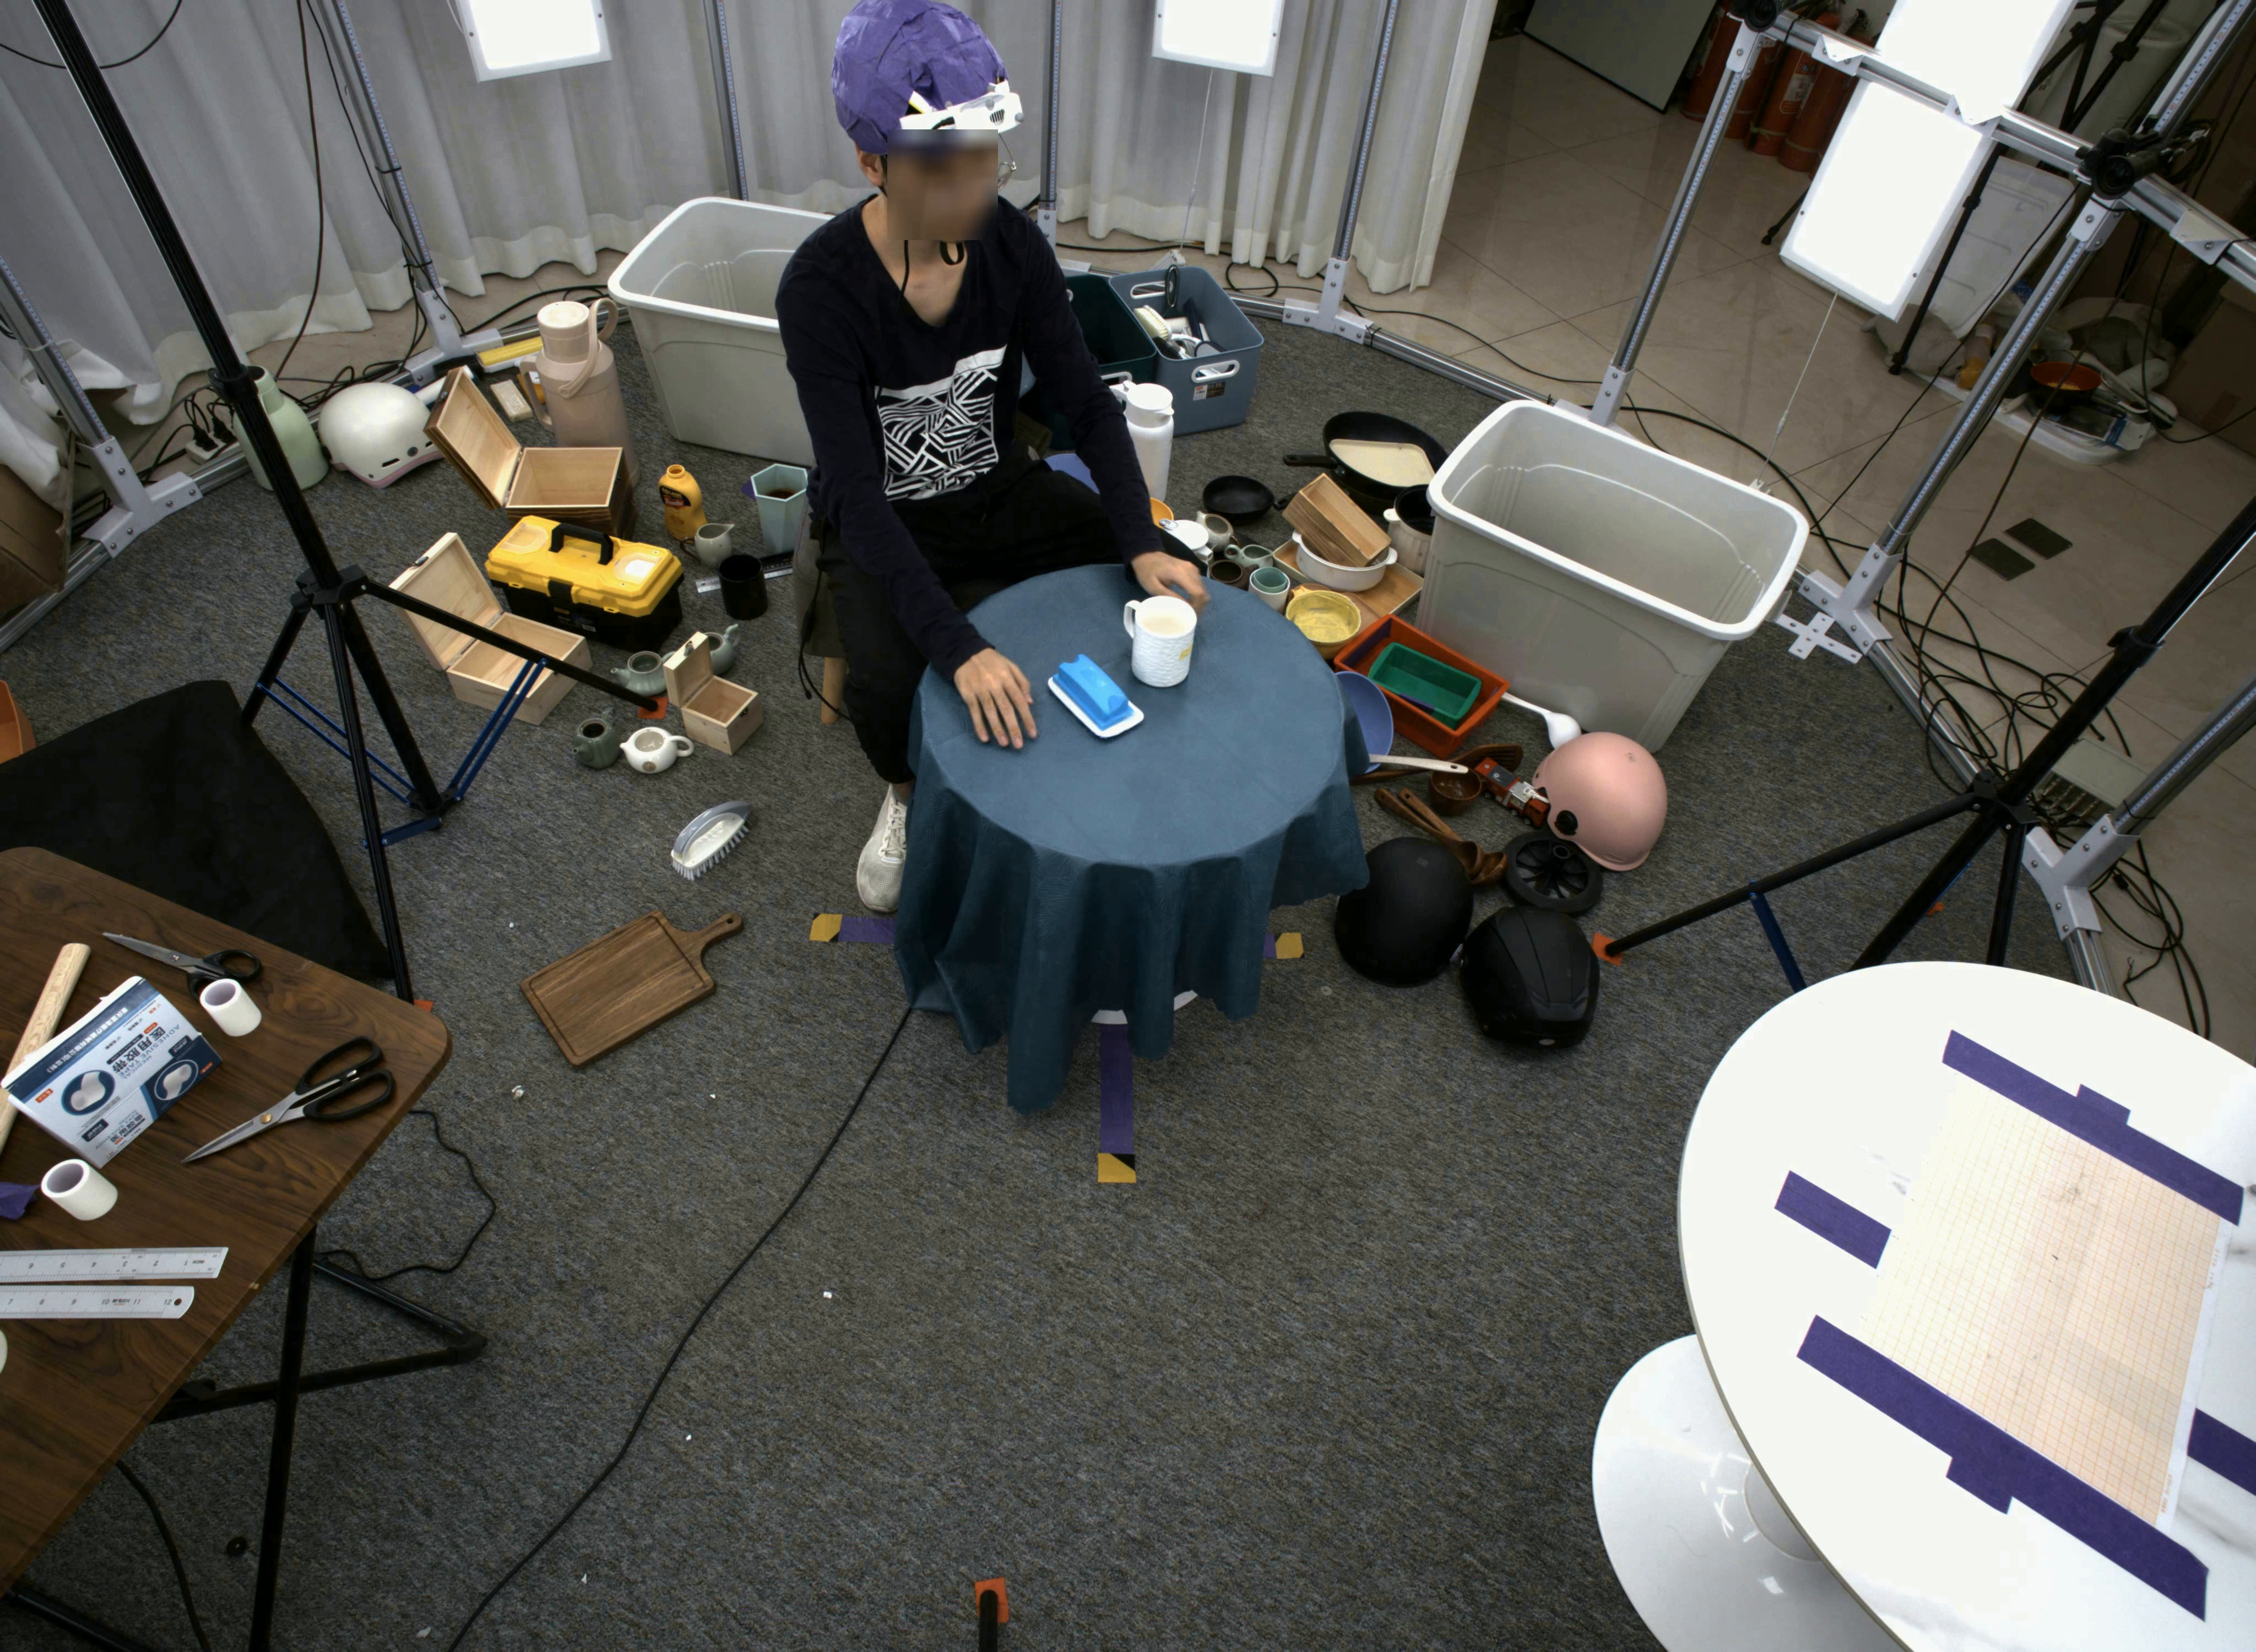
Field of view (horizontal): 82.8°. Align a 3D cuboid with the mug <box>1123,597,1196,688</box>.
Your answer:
[{"bbox_3d":[0.038,-0.268,1.839,0.120,0.099,0.086,37,56,26],"label":"mug"}]

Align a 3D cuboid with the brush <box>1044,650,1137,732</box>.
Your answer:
[{"bbox_3d":[-0.050,-0.196,1.795,0.084,0.054,0.147,-24,56,-26],"label":"brush"}]
